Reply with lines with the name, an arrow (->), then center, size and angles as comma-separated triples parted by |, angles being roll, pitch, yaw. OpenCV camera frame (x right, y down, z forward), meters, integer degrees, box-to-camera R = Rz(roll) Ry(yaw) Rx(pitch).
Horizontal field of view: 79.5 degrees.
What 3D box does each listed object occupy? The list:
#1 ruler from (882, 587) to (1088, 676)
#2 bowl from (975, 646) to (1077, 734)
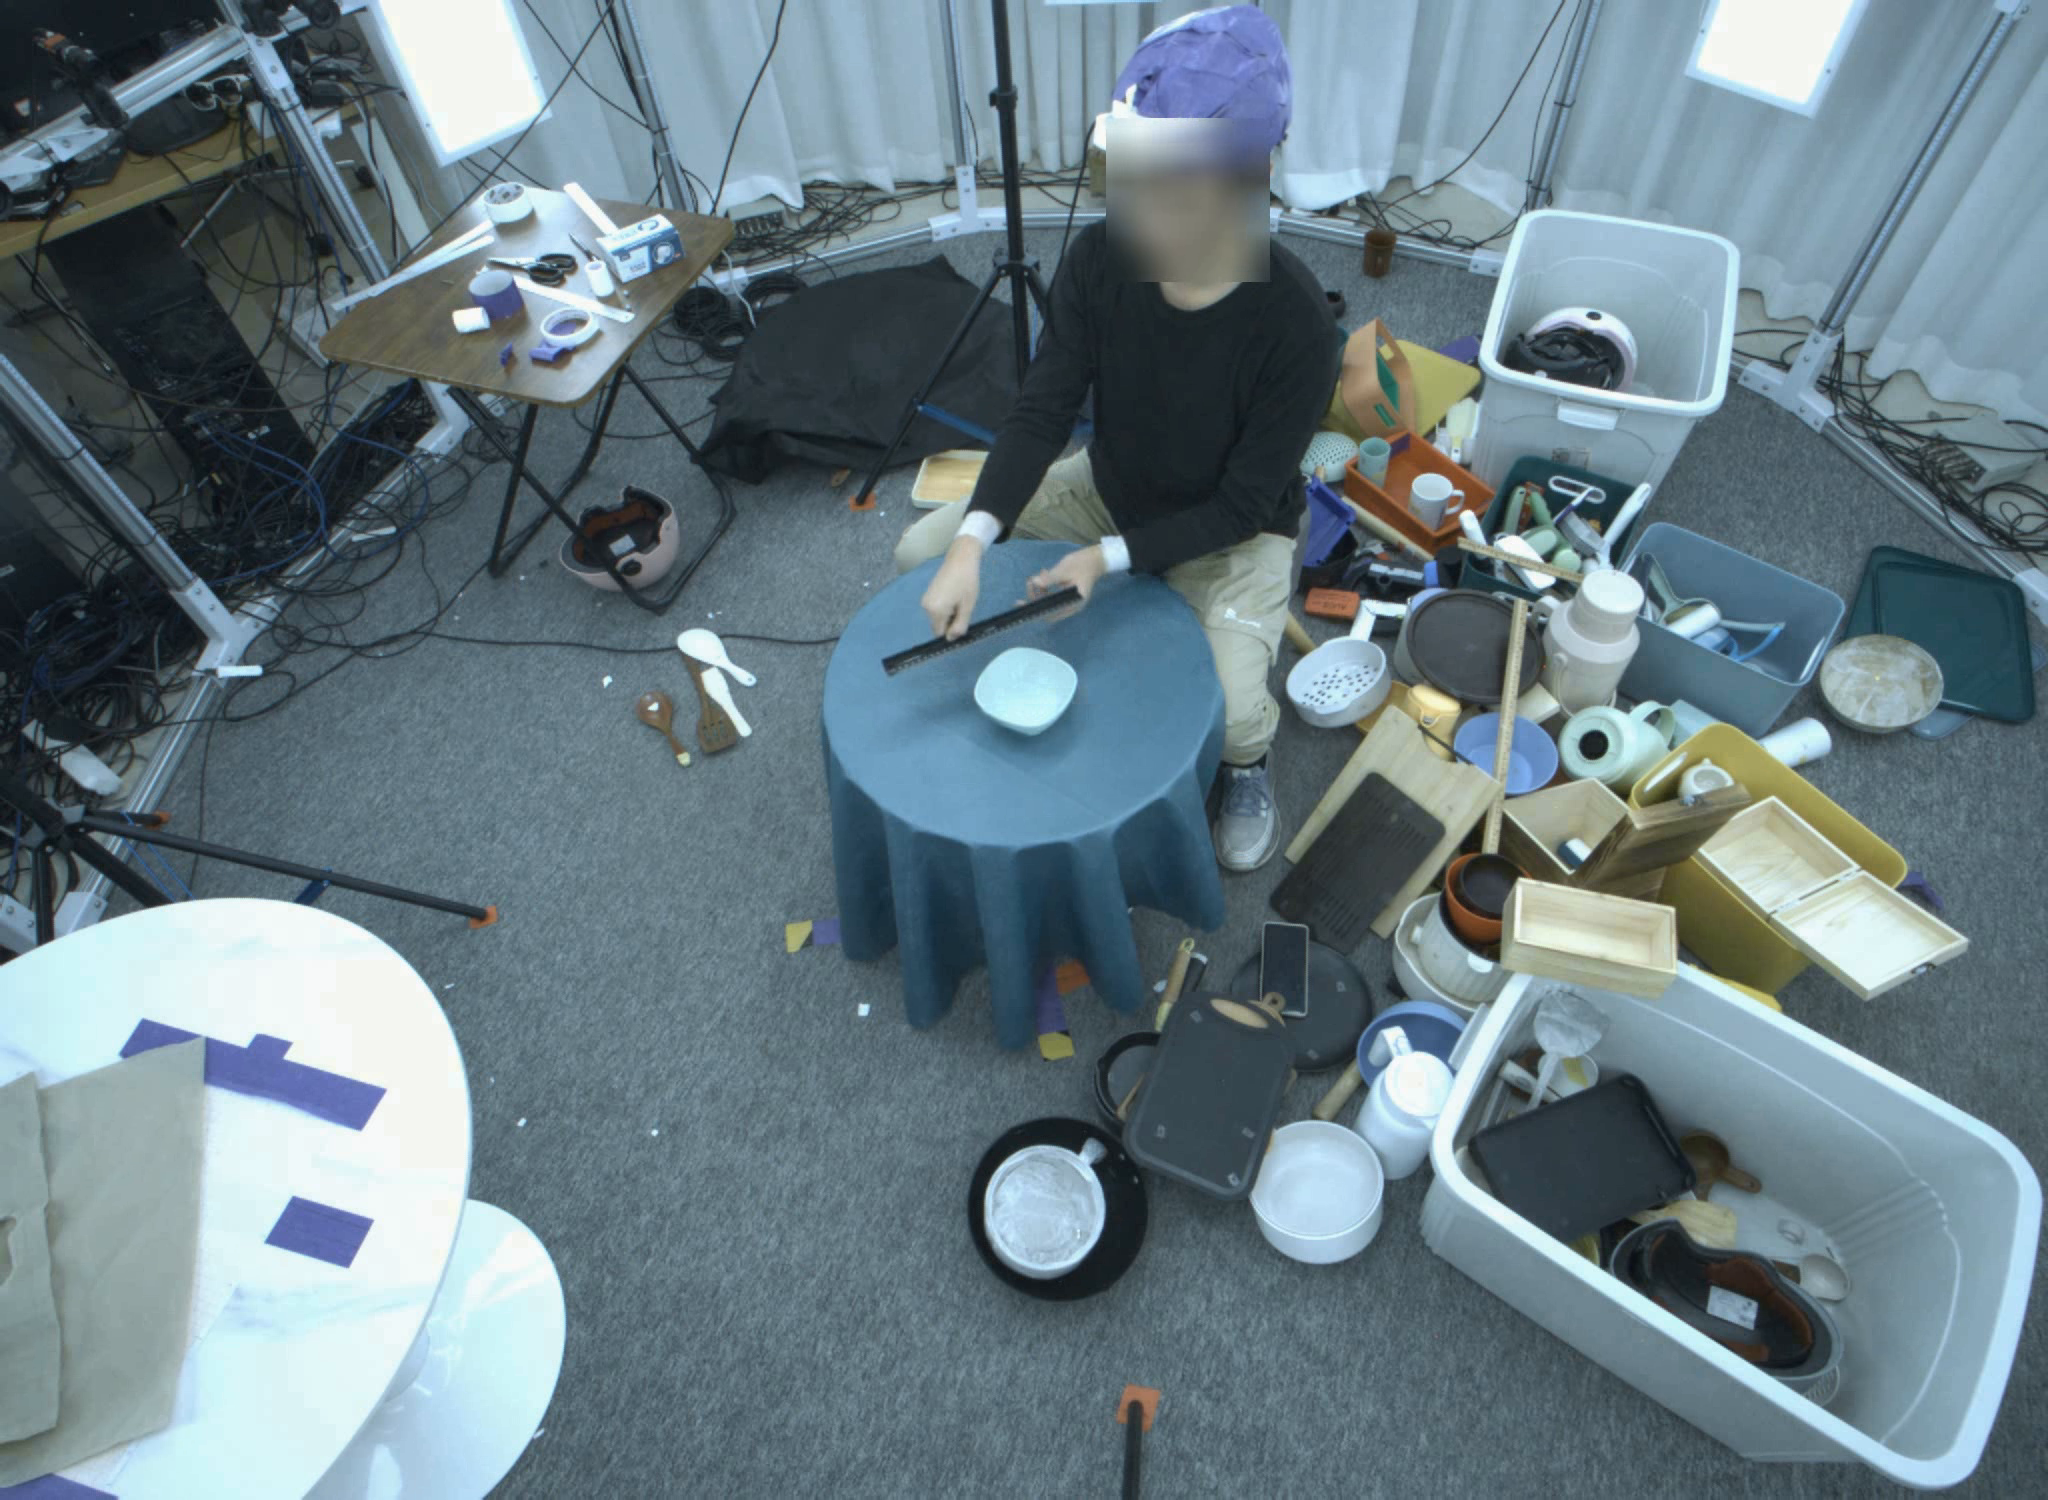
ruler -> -0.058, -0.175, 1.790 | 0.314, 0.017, 0.038 | -21, 39, -8
bowl -> 0.005, -0.078, 1.808 | 0.151, 0.059, 0.150 | -2, 57, 4
